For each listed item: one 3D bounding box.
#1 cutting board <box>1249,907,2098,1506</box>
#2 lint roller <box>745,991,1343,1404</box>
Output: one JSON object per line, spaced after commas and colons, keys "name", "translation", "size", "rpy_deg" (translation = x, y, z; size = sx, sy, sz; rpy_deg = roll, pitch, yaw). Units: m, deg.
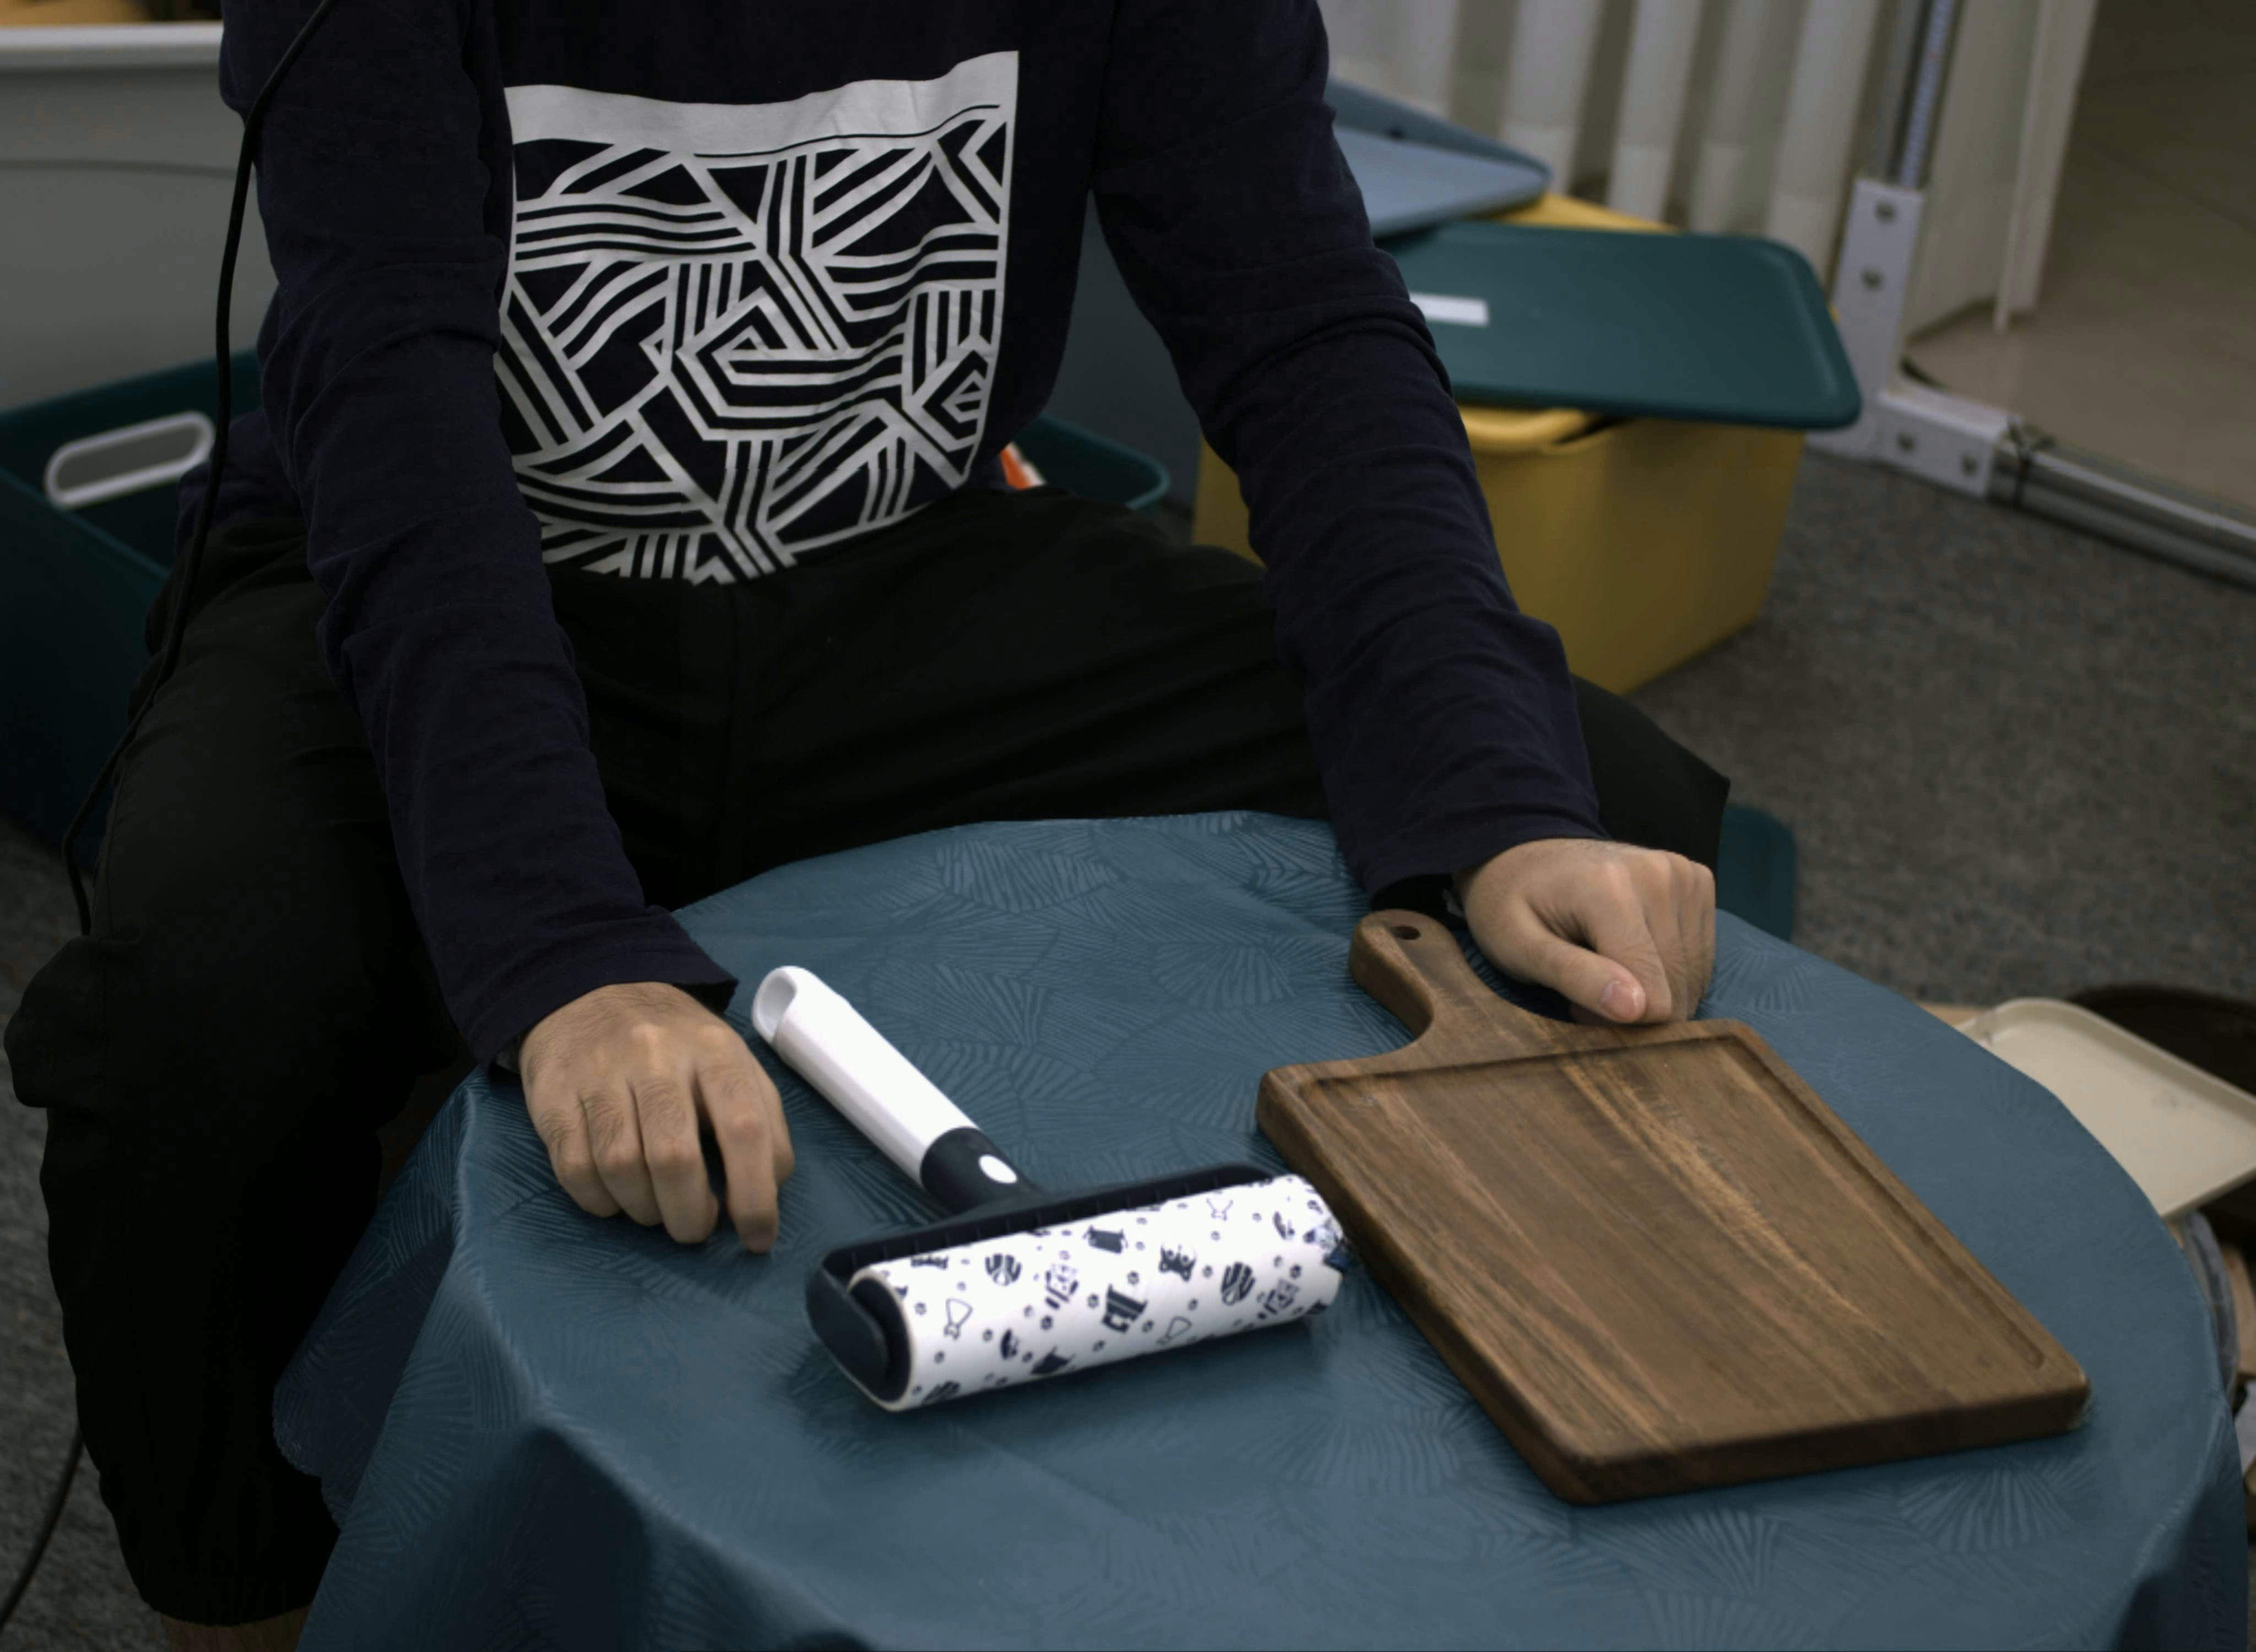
{"name": "cutting board", "translation": [0.160, 0.118, 1.829], "size": [0.200, 0.023, 0.355], "rpy_deg": [-5, 29, -23]}
{"name": "lint roller", "translation": [-0.065, 0.107, 1.780], "size": [0.175, 0.050, 0.249], "rpy_deg": [-11, 29, -30]}
